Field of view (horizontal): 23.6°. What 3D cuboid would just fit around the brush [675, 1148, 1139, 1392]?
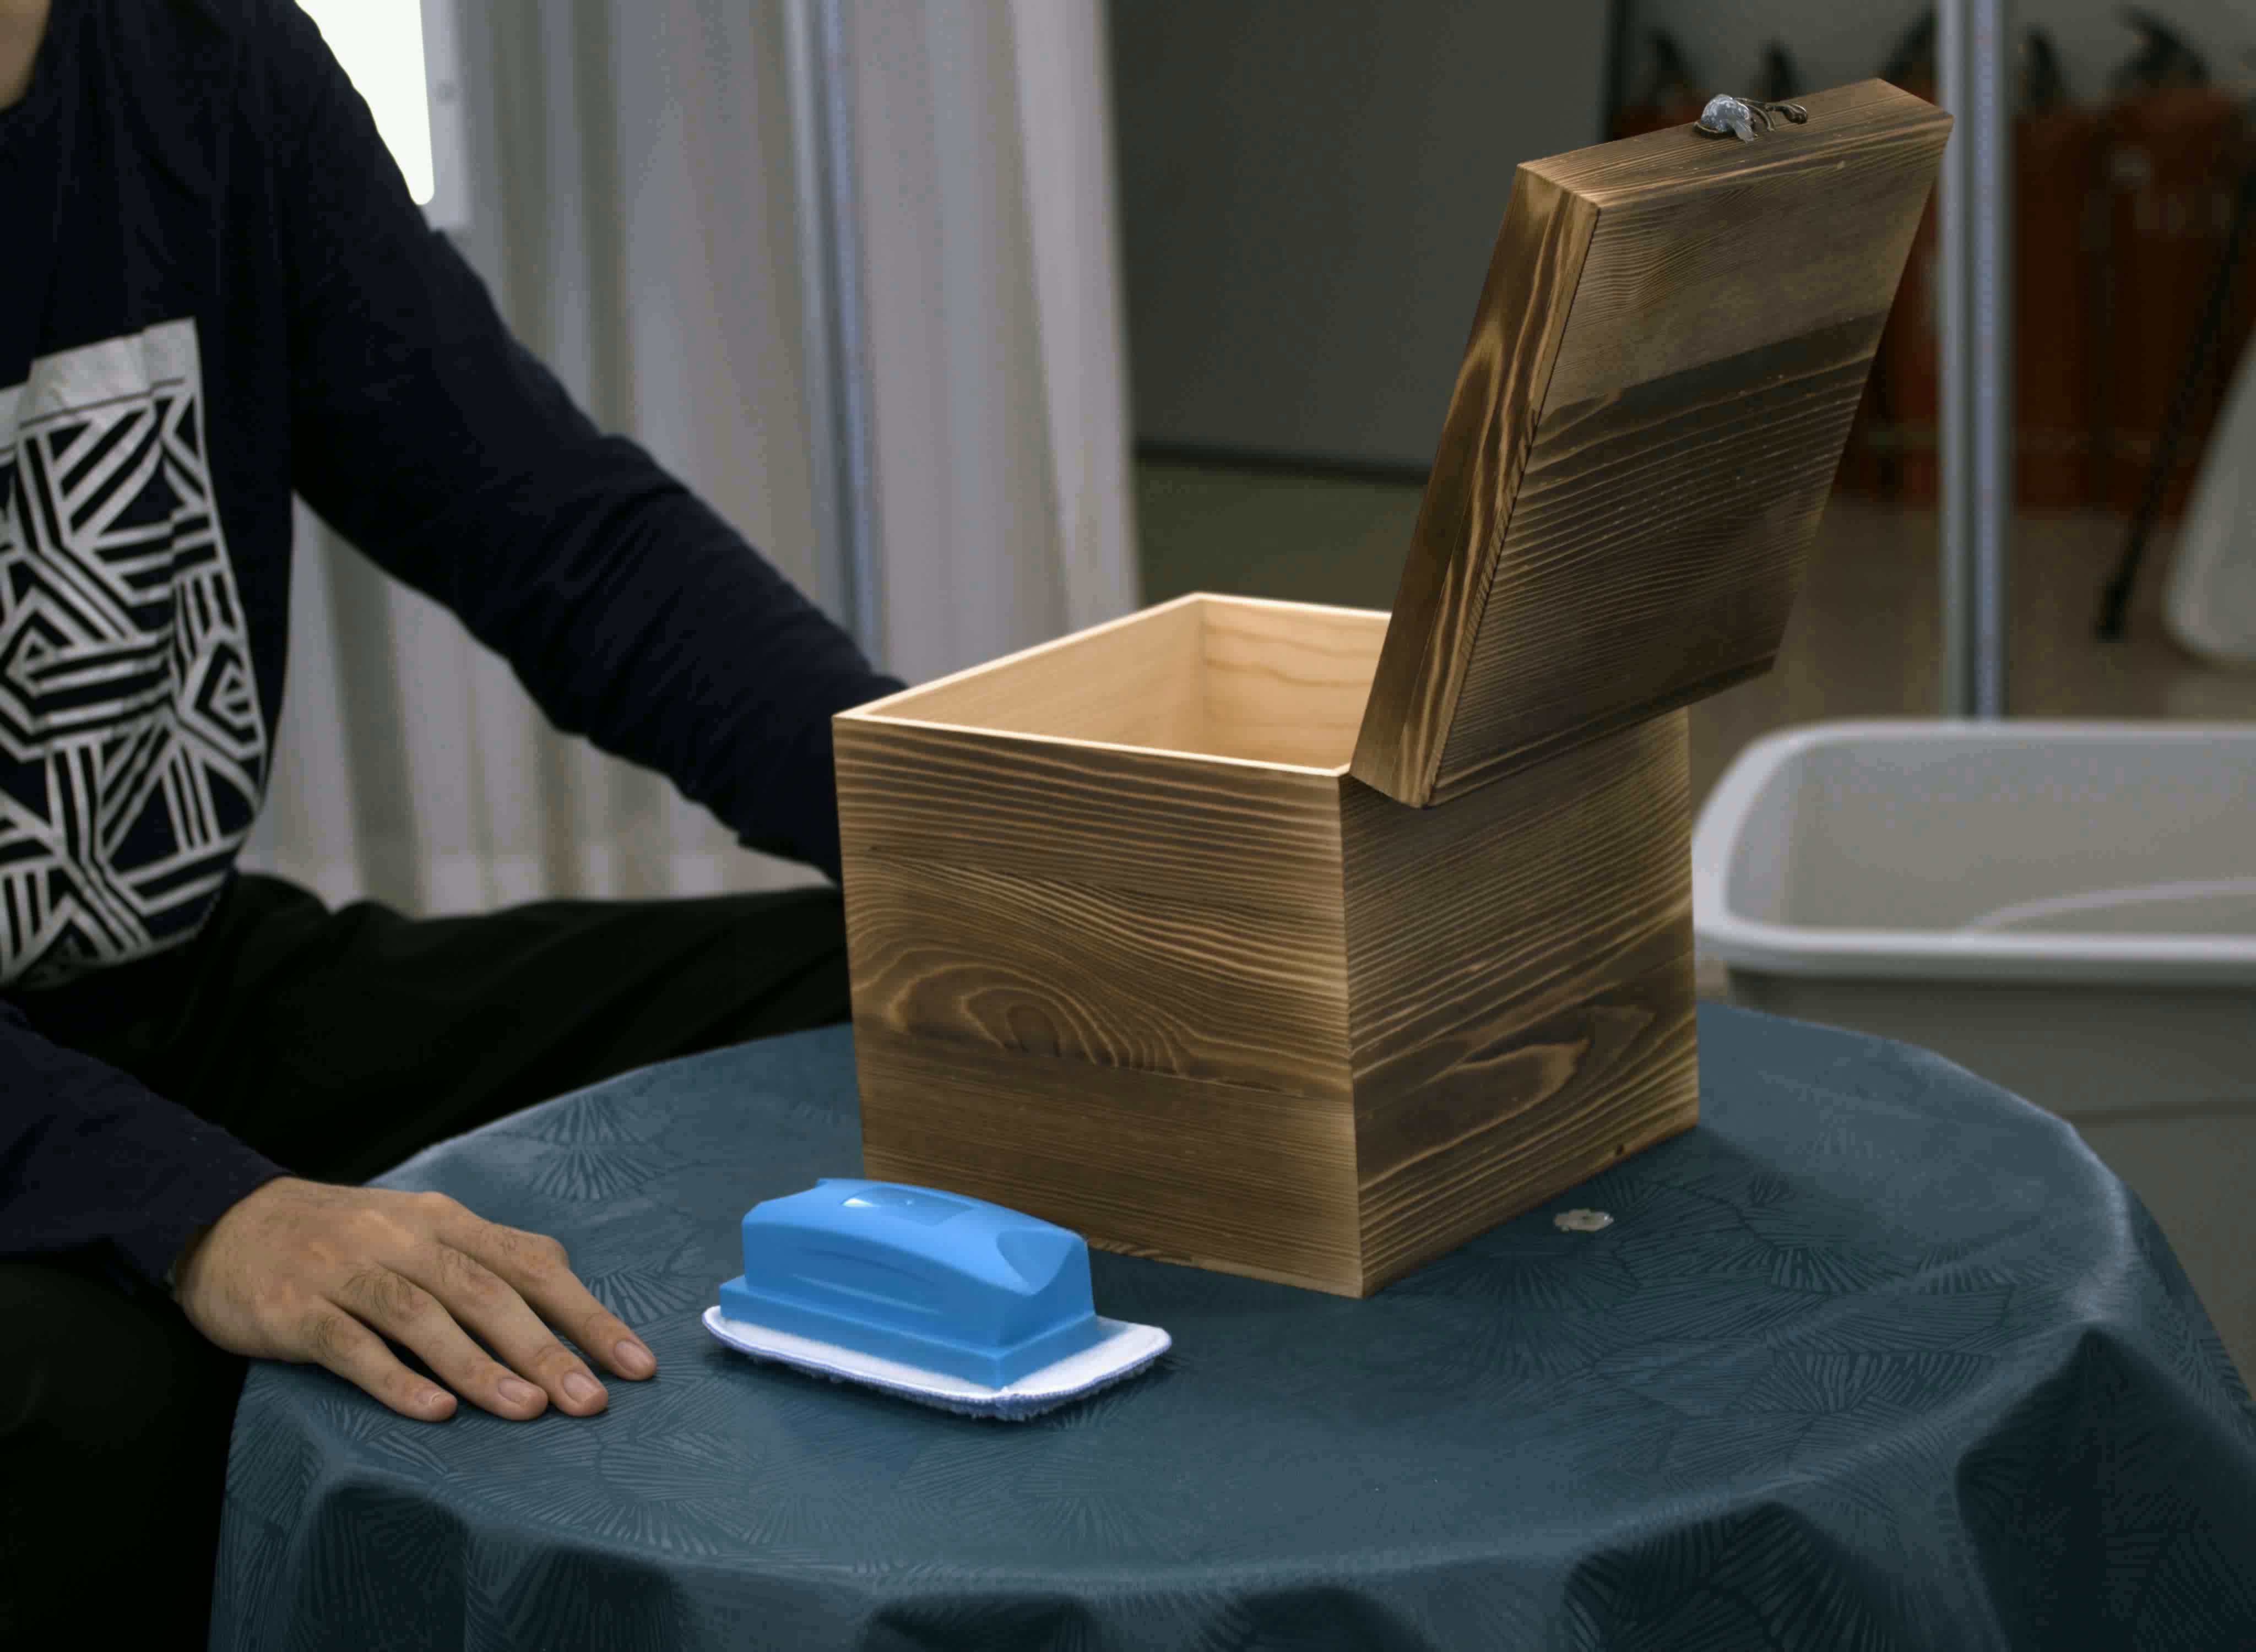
[{"bbox_3d":[-0.066,0.132,1.624,0.082,0.056,0.145,-13,18,-43],"label":"brush"}]

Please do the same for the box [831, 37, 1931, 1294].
[{"bbox_3d":[0.083,-0.058,1.718,0.324,0.379,0.205,7,16,38],"label":"box"}]
